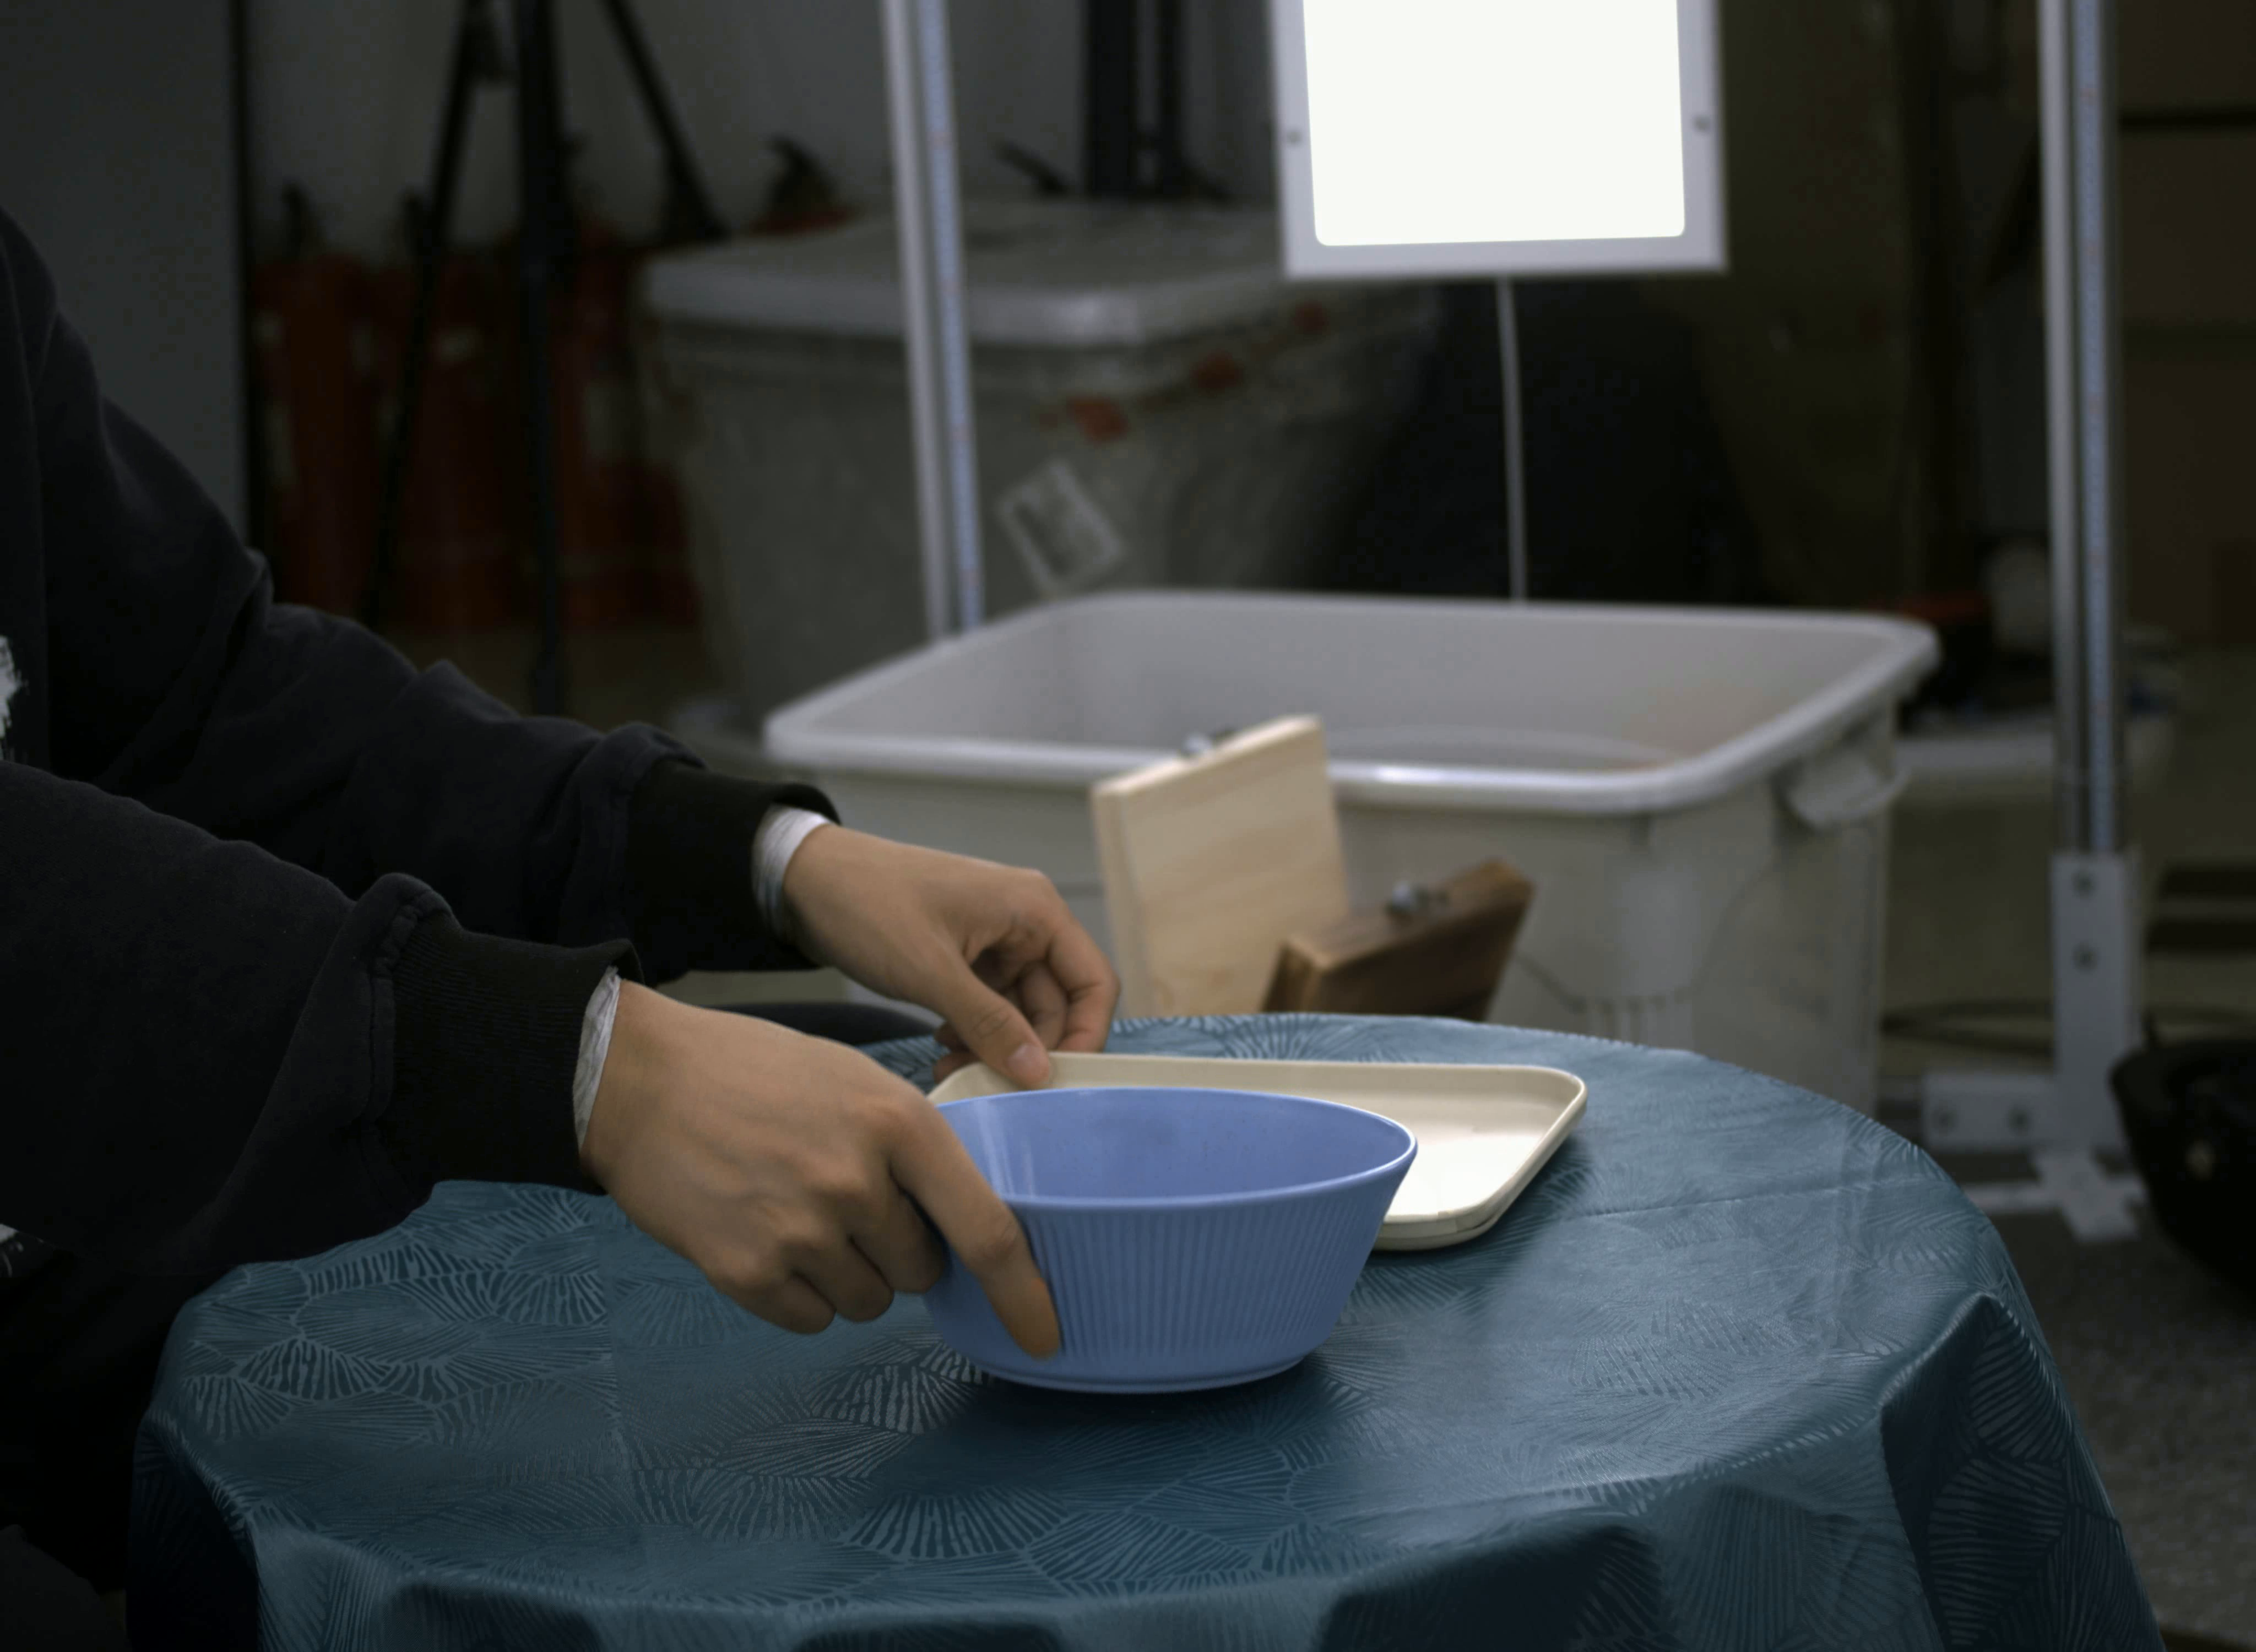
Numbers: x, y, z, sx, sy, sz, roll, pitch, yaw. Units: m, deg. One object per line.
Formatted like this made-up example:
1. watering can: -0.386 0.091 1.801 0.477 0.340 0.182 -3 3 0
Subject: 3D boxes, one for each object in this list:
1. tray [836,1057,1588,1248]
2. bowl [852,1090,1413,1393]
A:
1. tray: 0.031 0.113 1.905 0.243 0.017 0.168 0 14 21
2. bowl: 0.002 0.130 1.712 0.175 0.070 0.176 -1 8 -1
